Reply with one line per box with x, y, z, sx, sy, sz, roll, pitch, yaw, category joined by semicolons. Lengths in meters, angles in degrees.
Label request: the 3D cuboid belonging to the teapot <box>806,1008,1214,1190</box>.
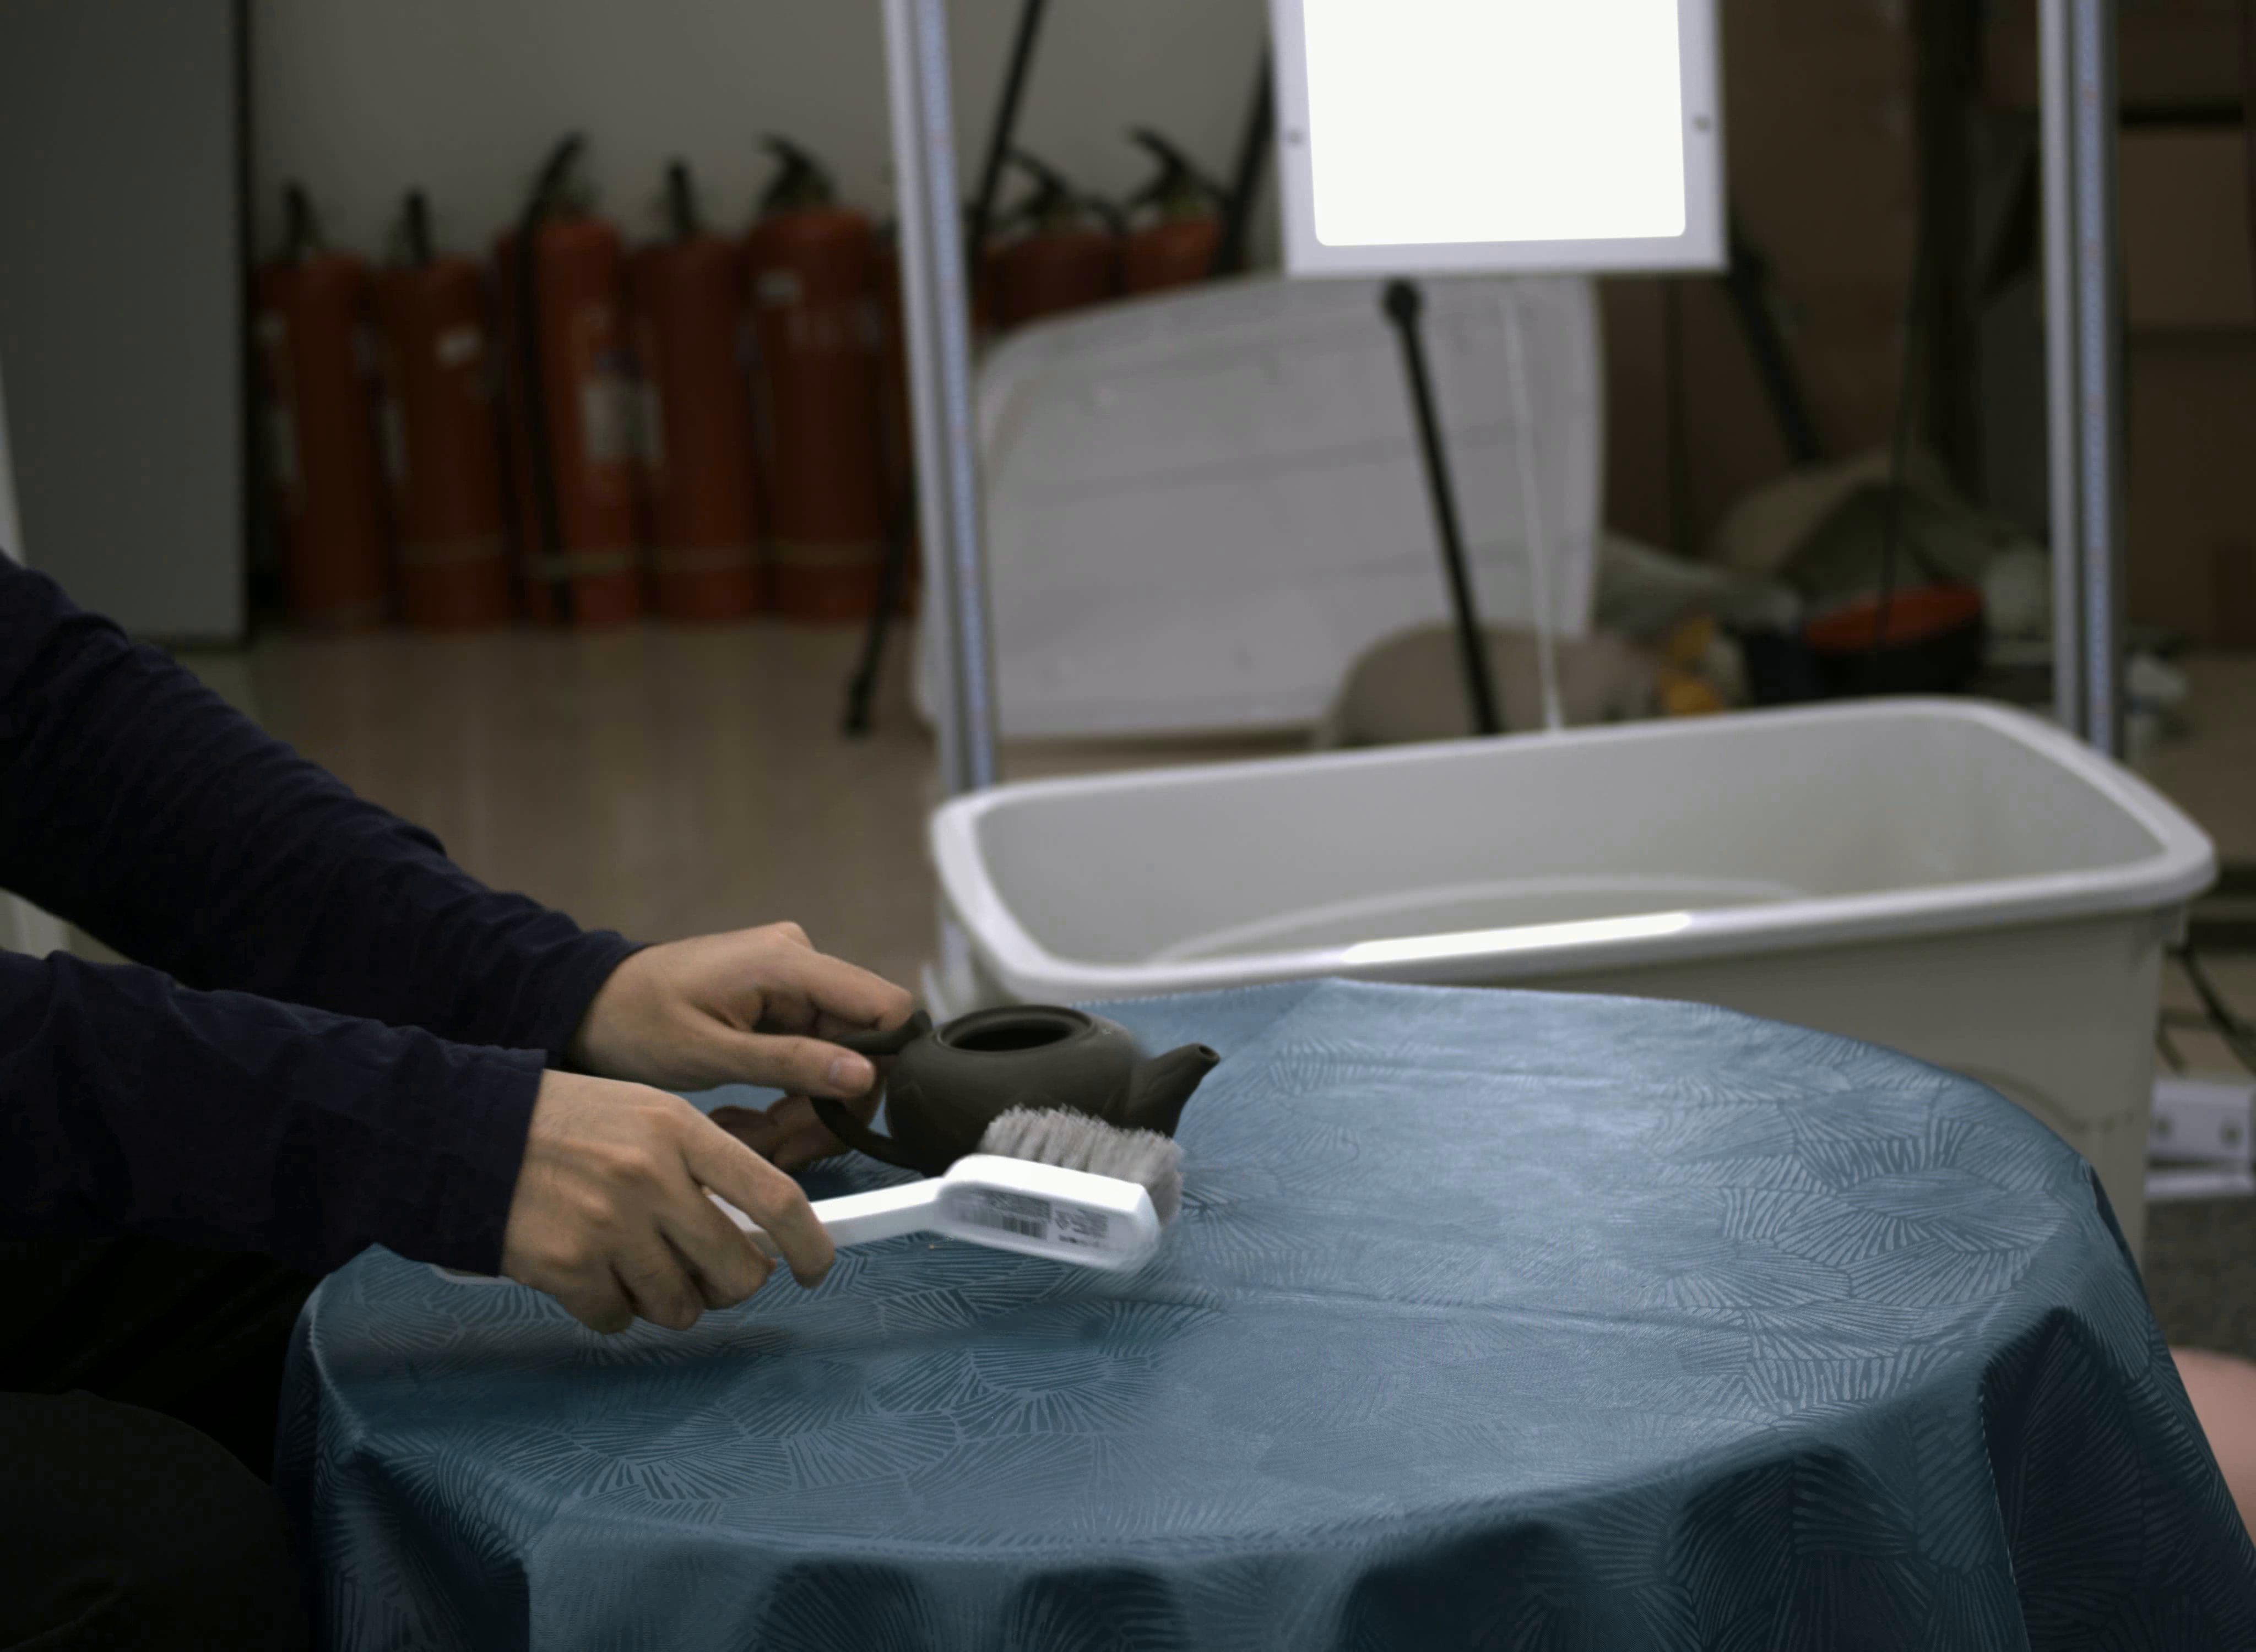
-0.041;0.097;1.909;0.156;0.064;0.090;0;16;23;teapot

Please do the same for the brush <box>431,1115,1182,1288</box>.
-0.103;0.122;1.787;0.244;0.034;0.050;-2;49;5;brush
